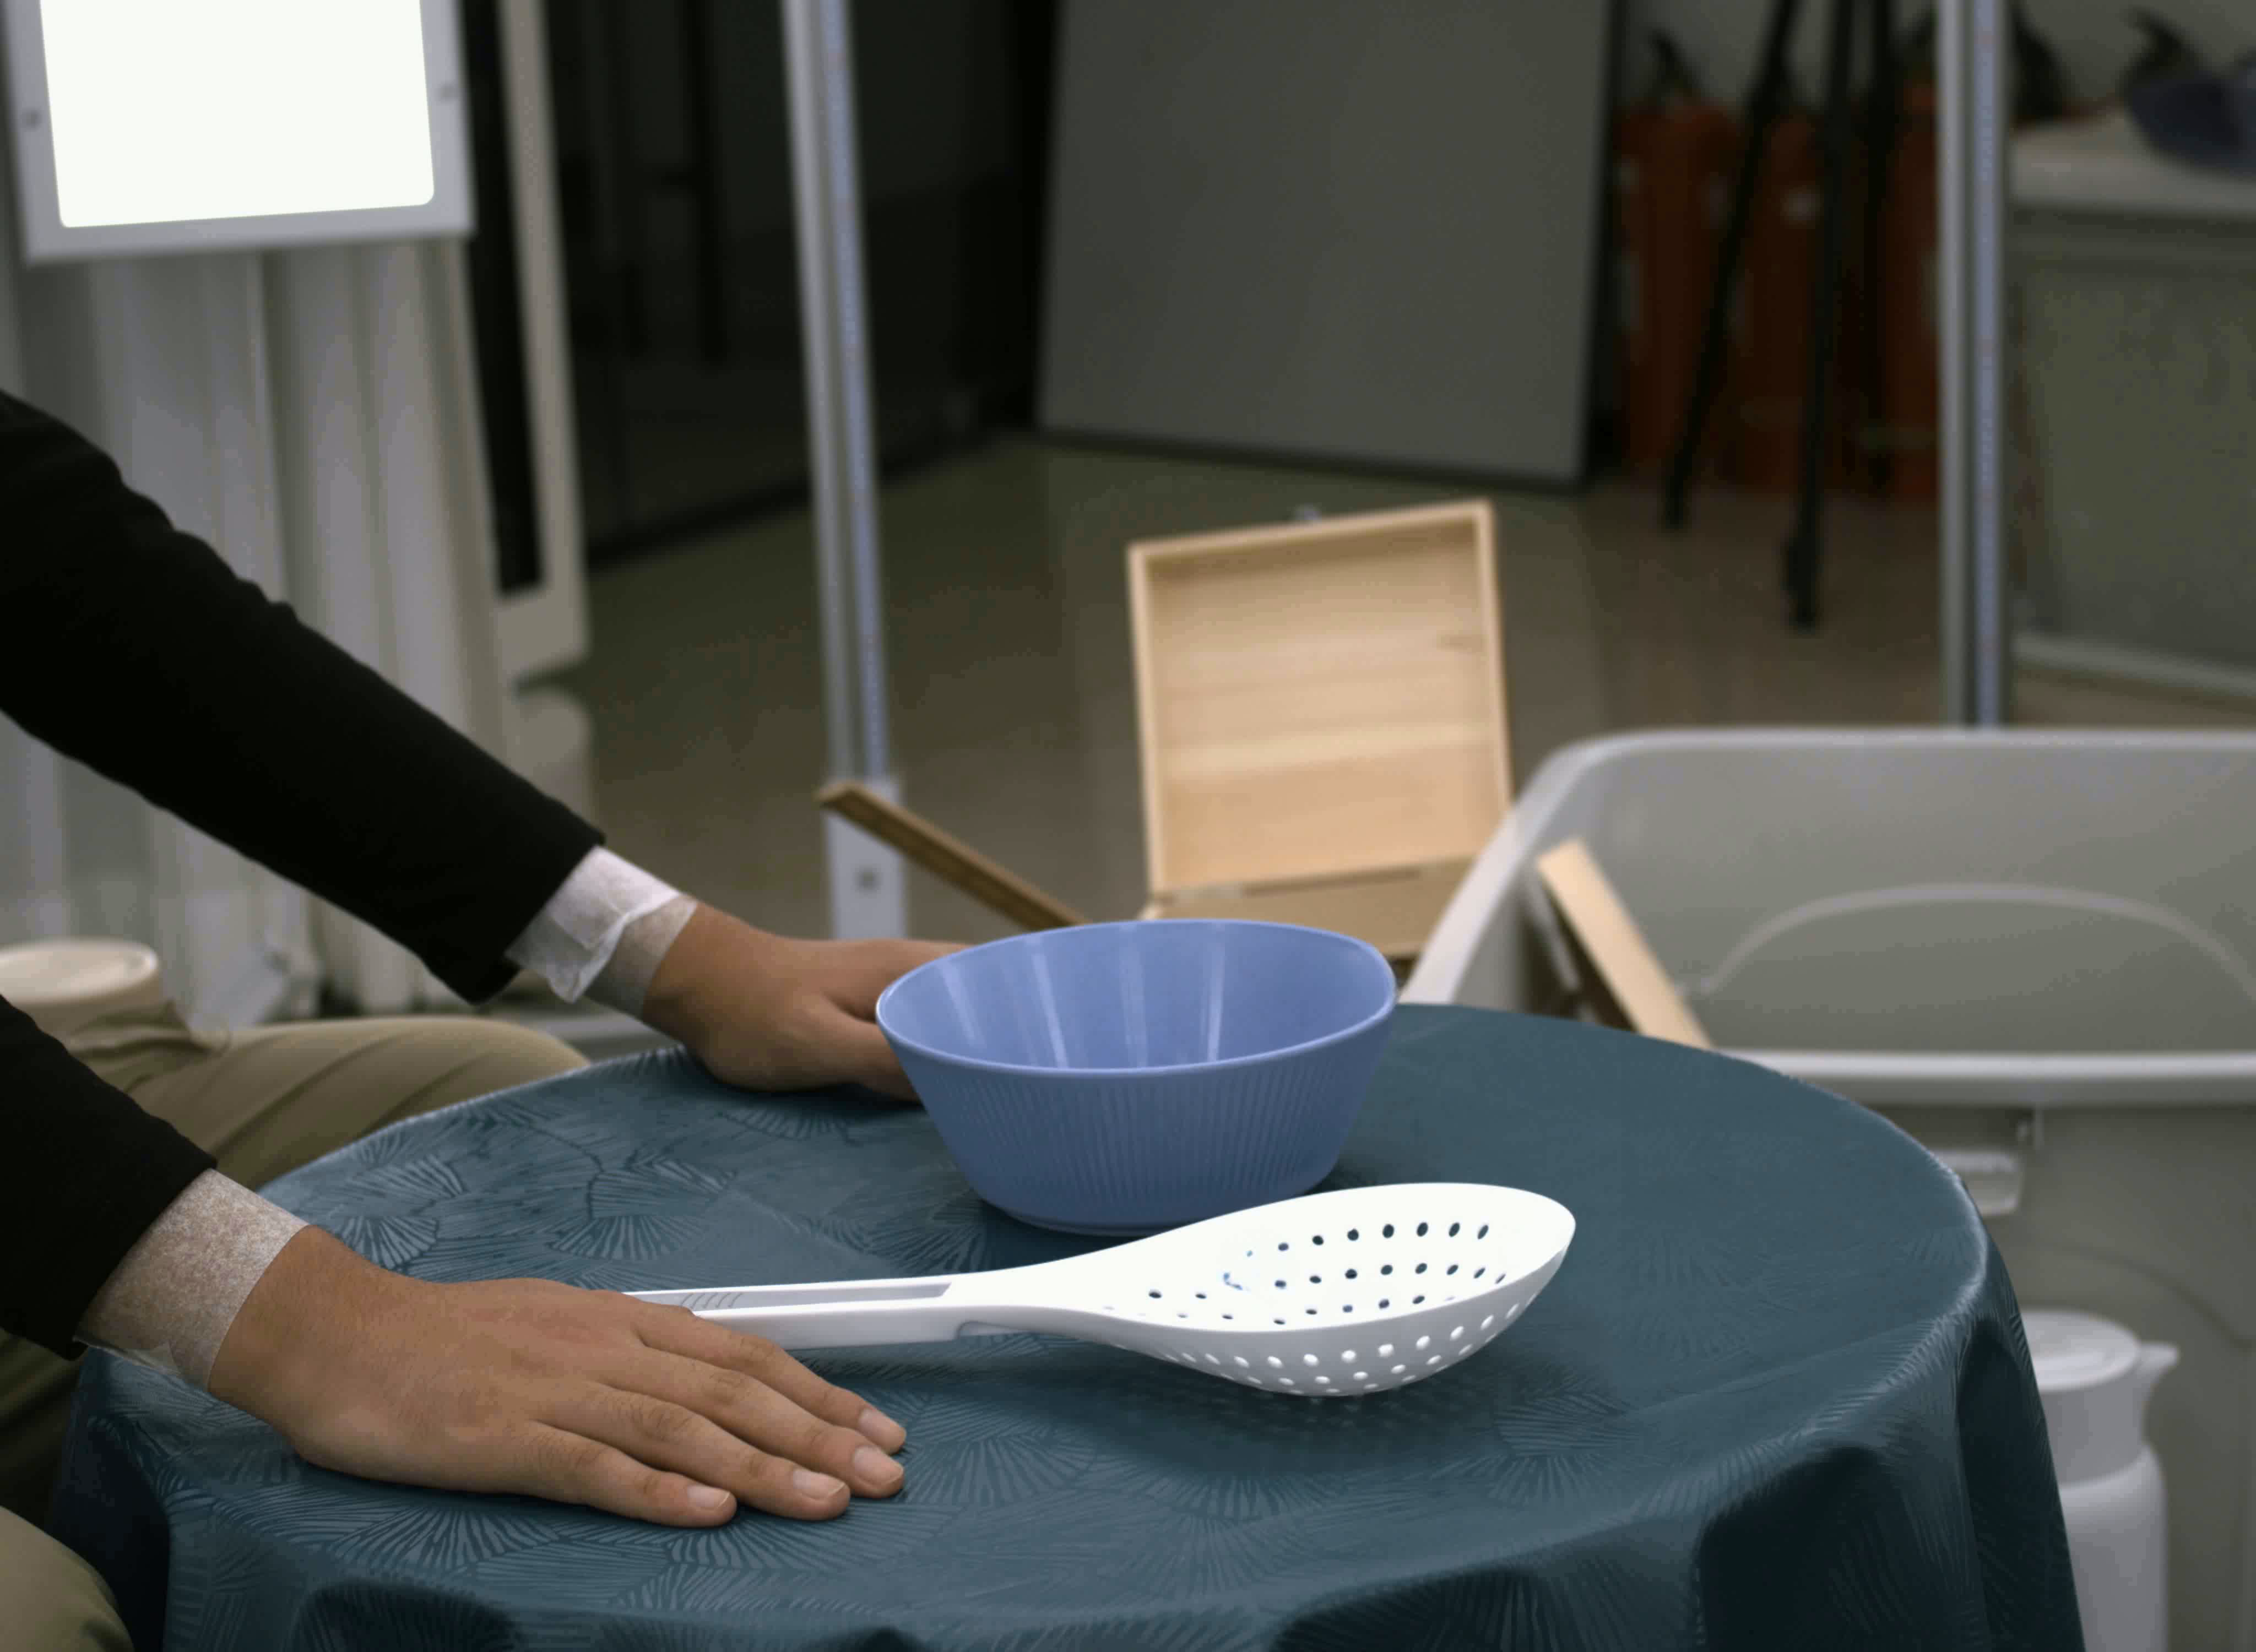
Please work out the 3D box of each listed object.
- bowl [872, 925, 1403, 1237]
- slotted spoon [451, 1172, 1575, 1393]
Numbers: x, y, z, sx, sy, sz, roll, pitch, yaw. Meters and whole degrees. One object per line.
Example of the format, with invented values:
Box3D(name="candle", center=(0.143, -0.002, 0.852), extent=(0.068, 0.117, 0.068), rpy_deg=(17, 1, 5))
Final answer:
Box3D(name="bowl", center=(0.005, 0.086, 1.767), extent=(0.174, 0.071, 0.176), rpy_deg=(-5, 13, 0))
Box3D(name="slotted spoon", center=(-0.038, 0.141, 1.602), extent=(0.348, 0.046, 0.135), rpy_deg=(-2, 14, 16))
